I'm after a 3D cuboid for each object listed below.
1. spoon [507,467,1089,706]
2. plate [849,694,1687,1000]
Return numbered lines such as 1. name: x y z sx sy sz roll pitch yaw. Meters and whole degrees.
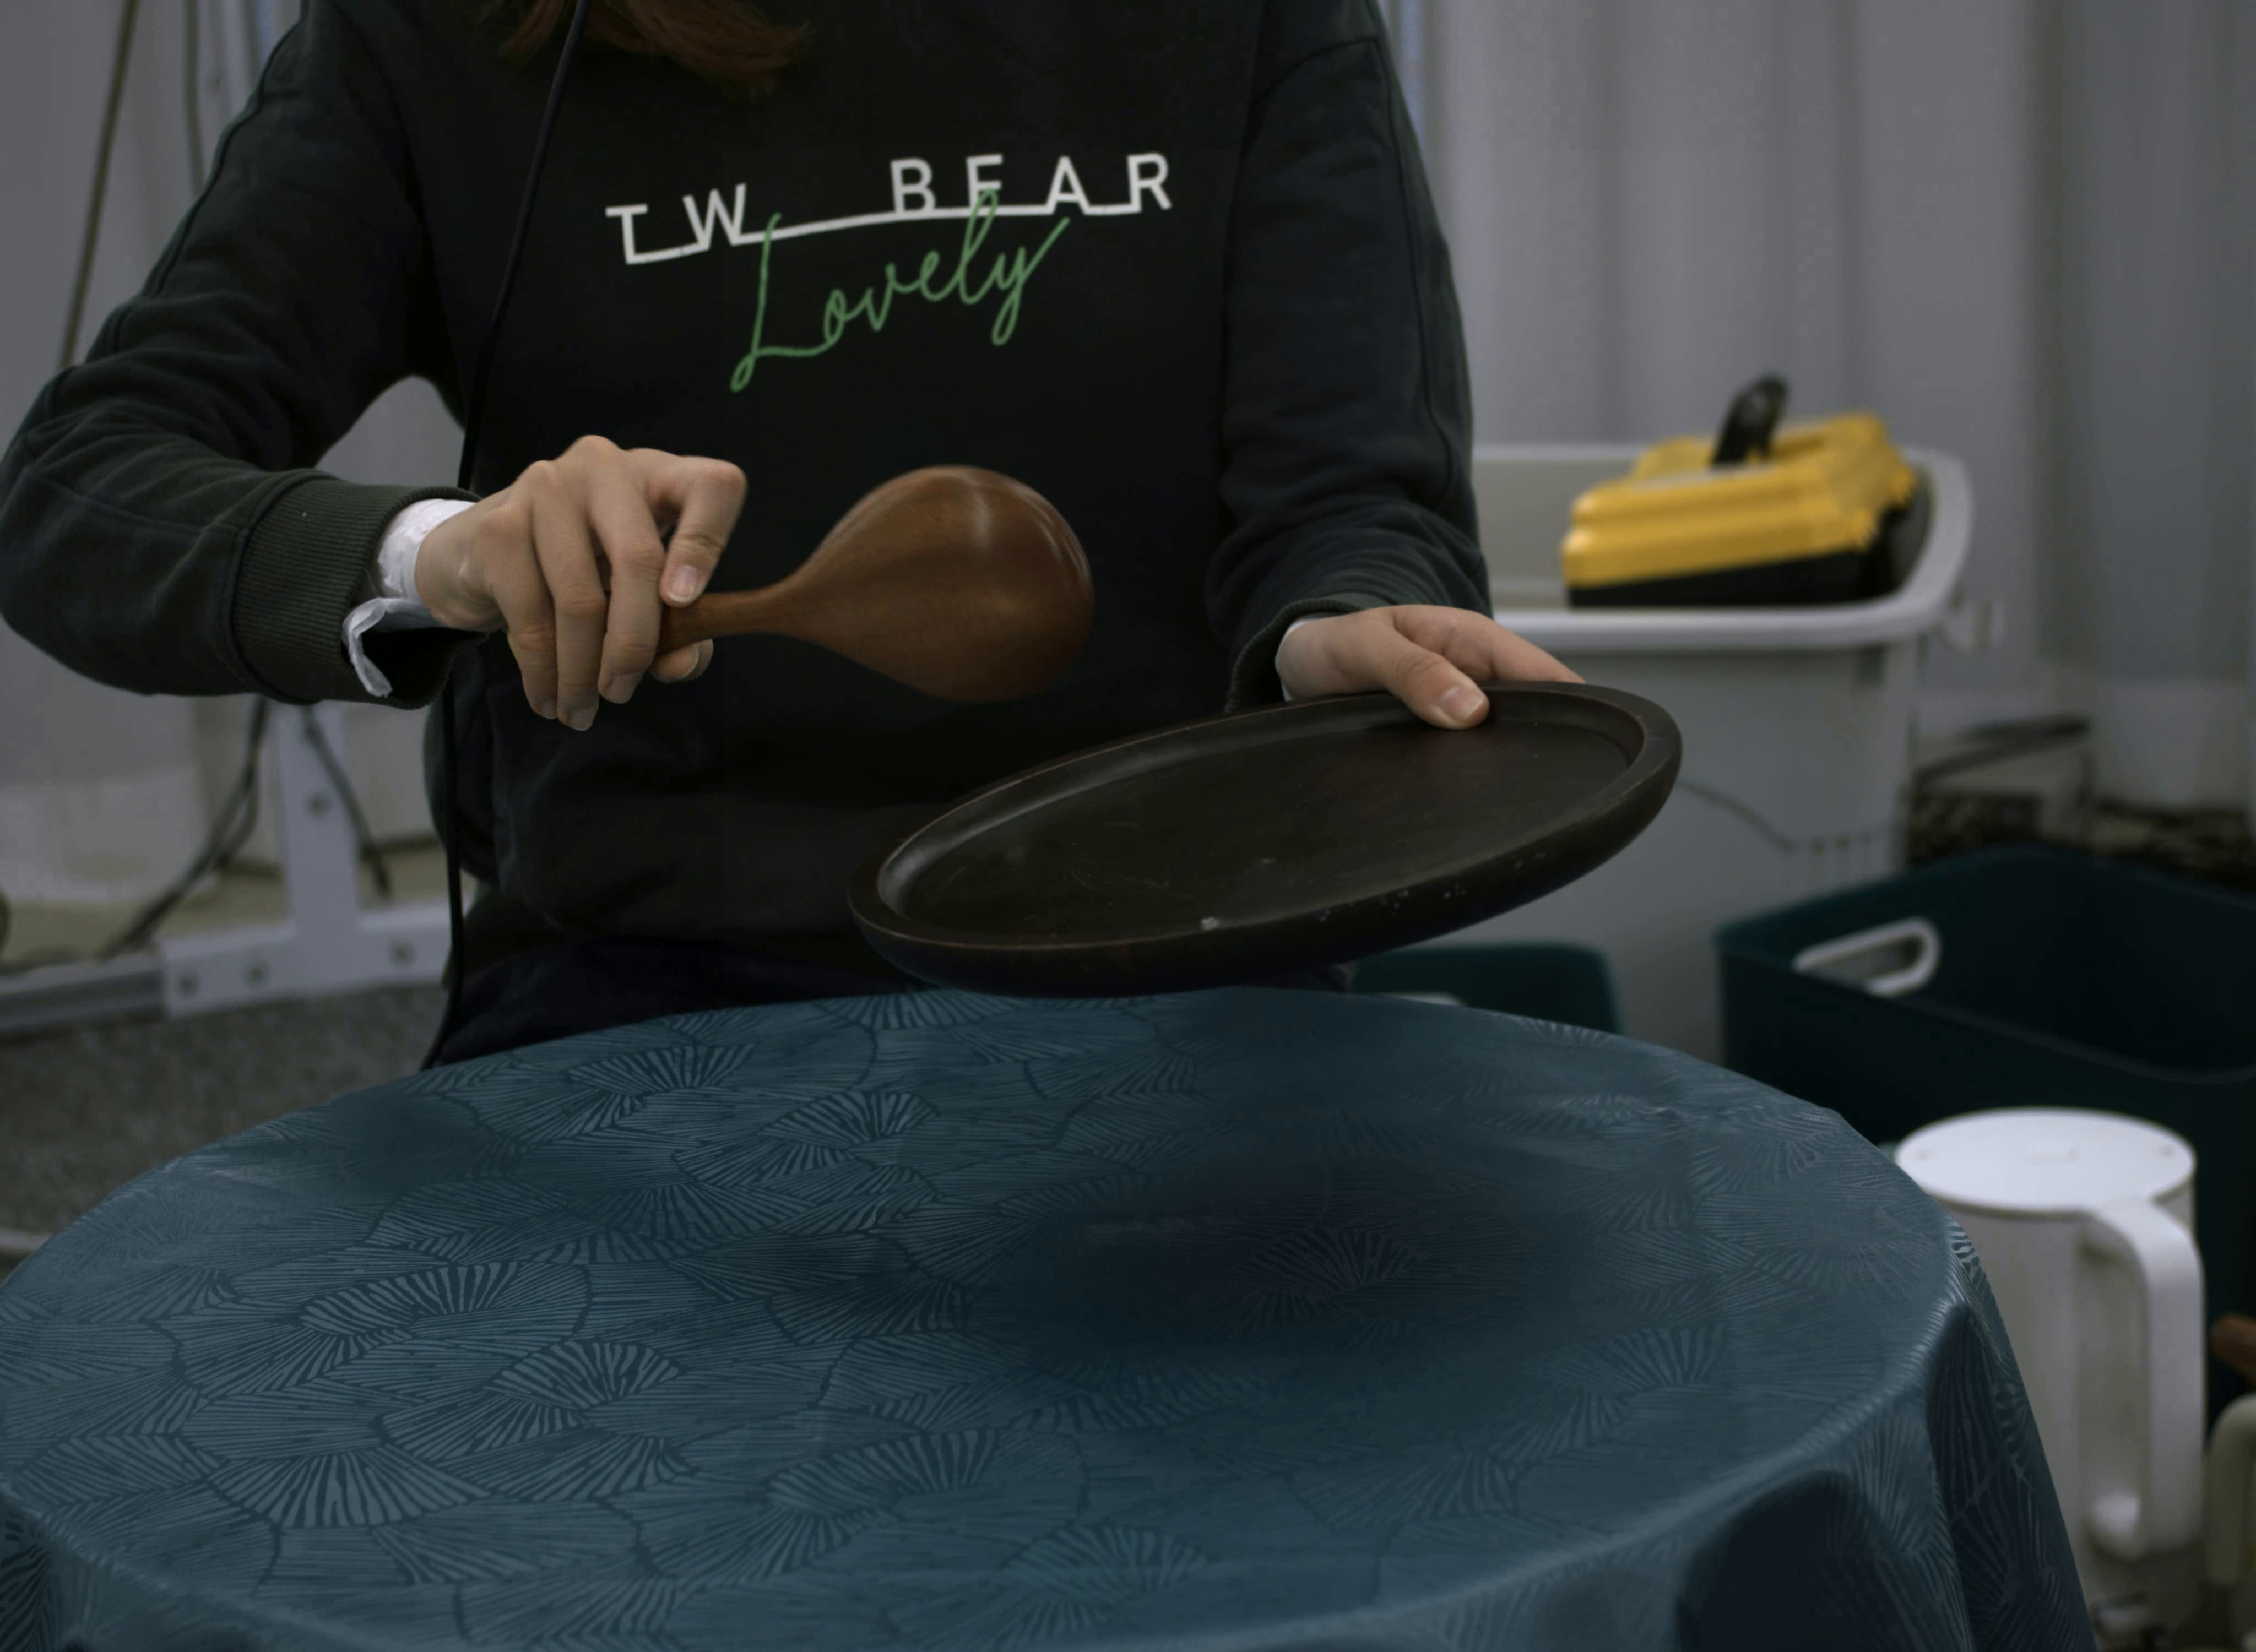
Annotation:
1. spoon: -0.104 -0.067 1.654 0.216 0.075 0.017 -2 19 35
2. plate: 0.042 0.004 1.629 0.254 0.029 0.256 -10 15 2
